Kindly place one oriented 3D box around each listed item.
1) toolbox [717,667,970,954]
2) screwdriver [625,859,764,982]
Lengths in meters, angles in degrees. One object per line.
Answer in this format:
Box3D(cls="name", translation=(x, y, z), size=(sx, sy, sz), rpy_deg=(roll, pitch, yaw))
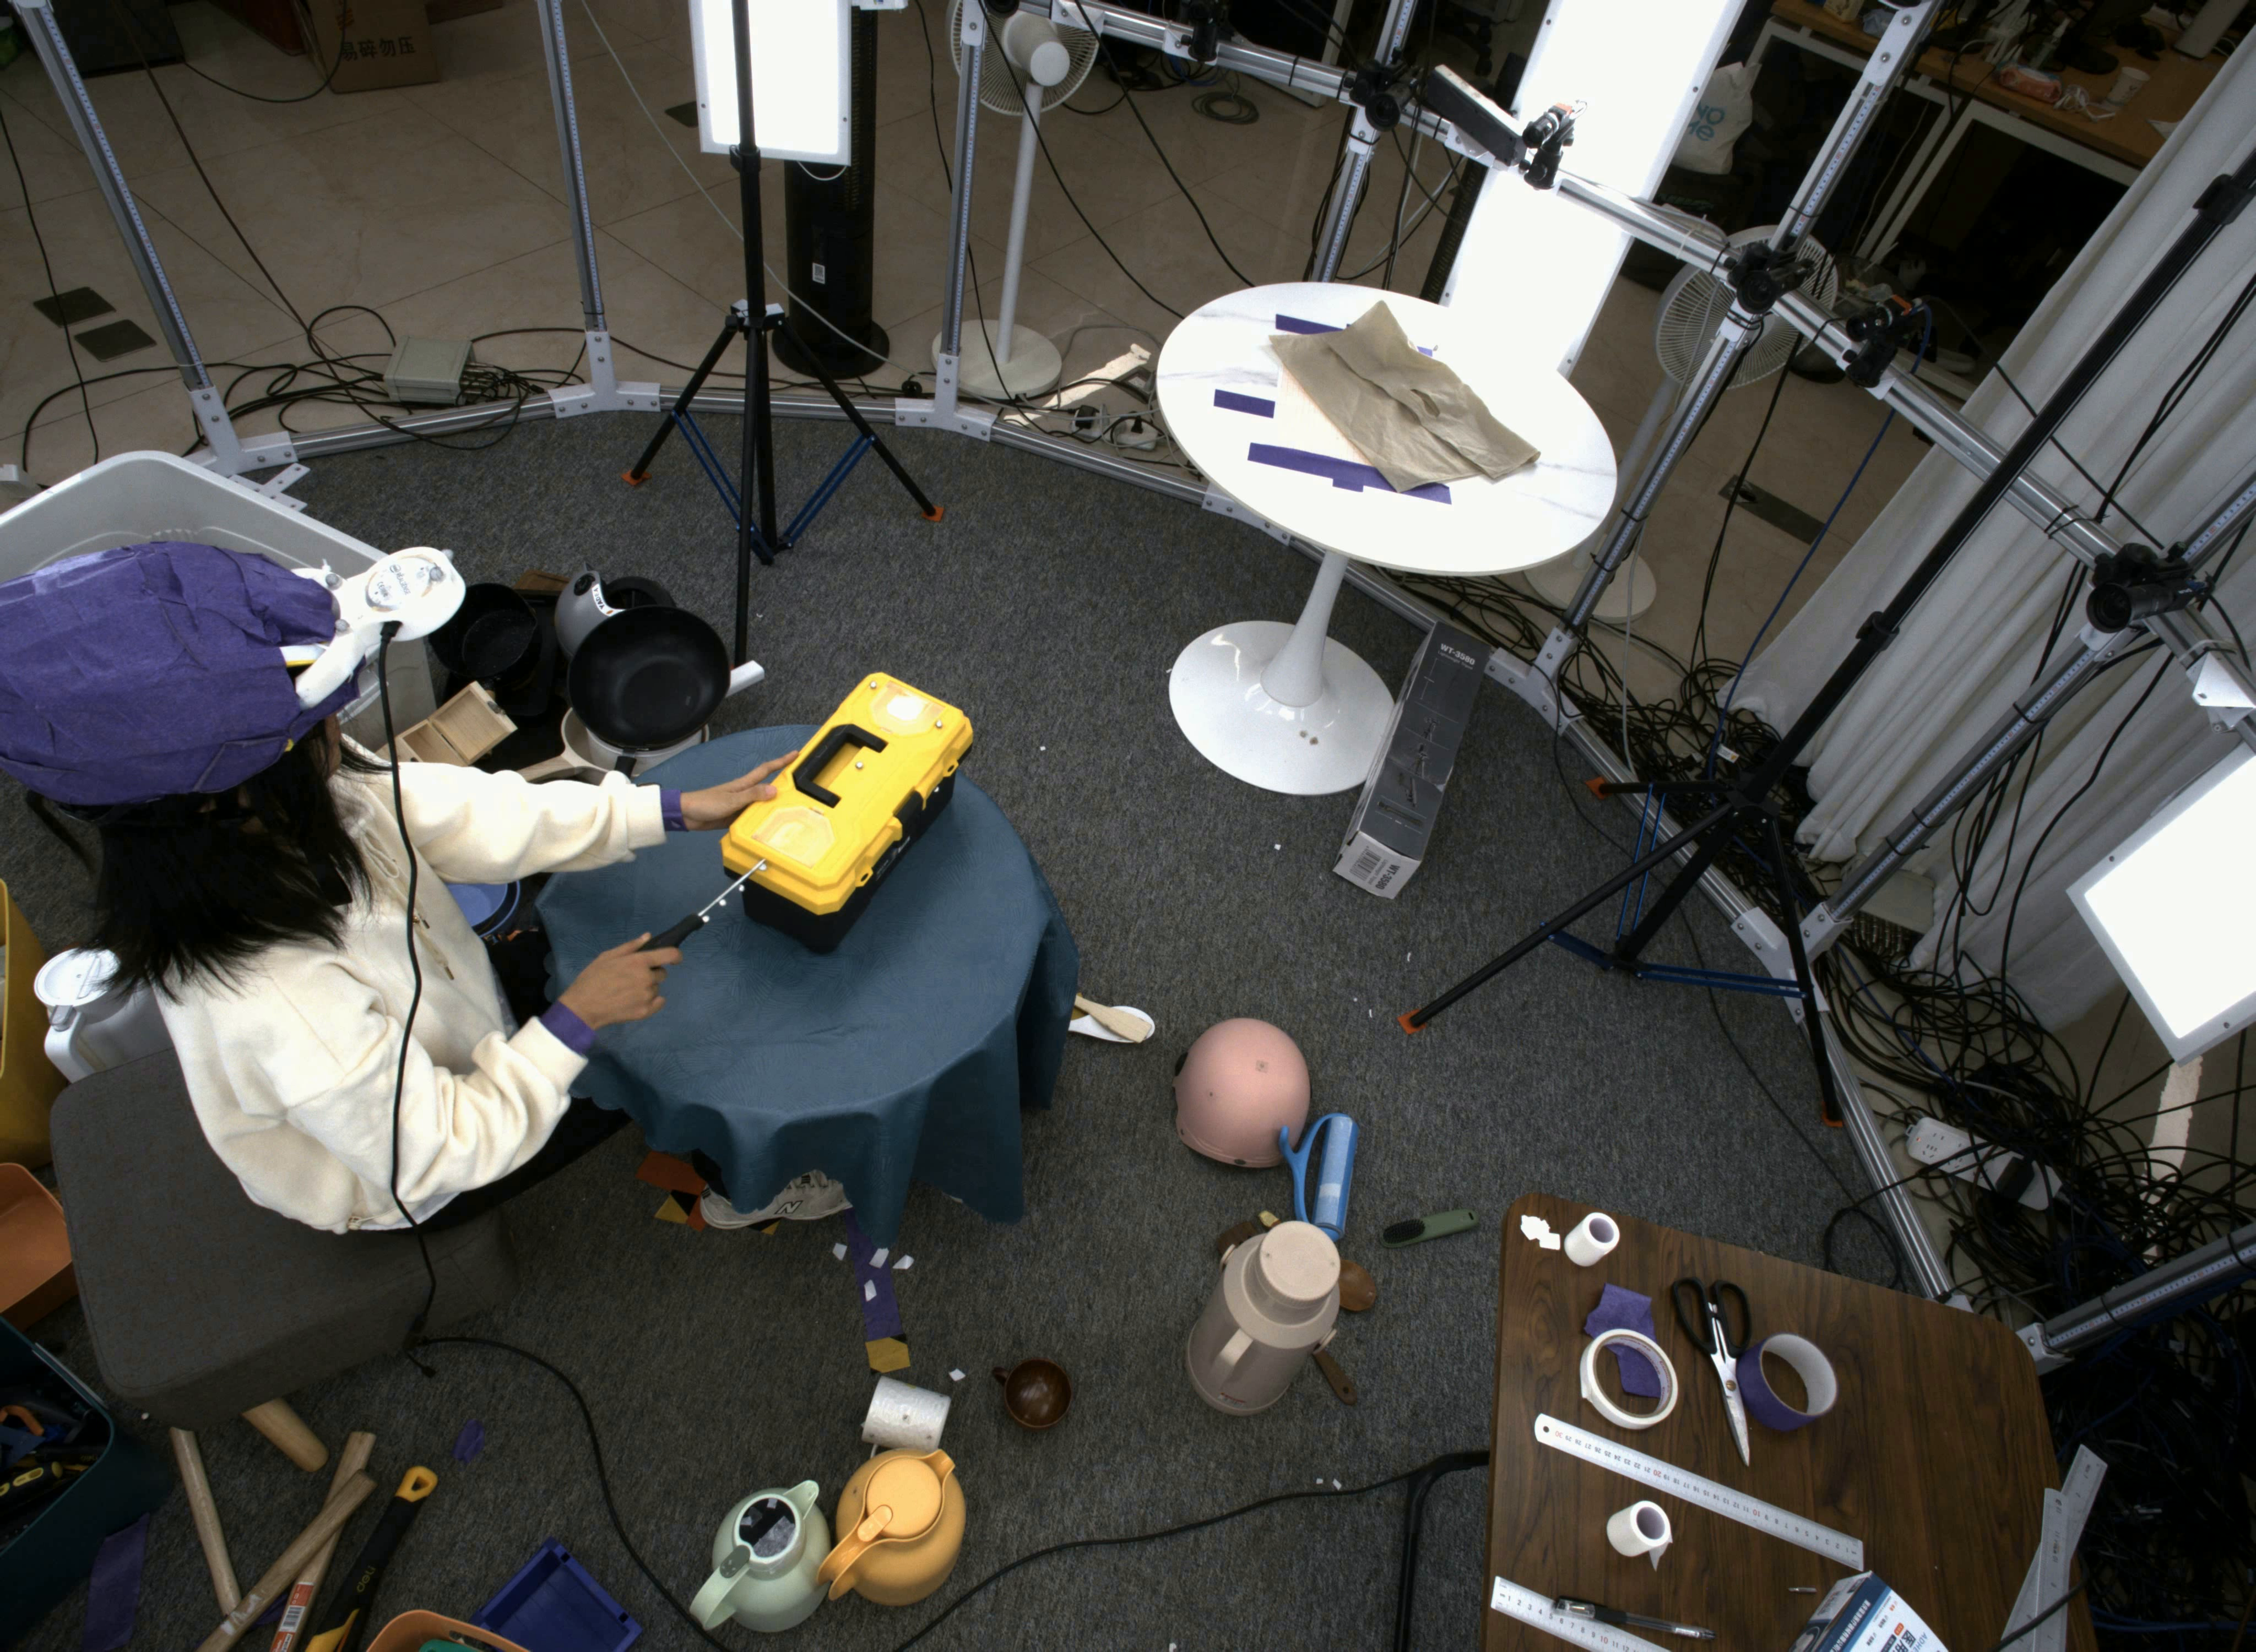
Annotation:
Box3D(cls="toolbox", translation=(-0.351, -0.021, 1.642), size=(0.178, 0.176, 0.349), rpy_deg=(26, 52, 8))
Box3D(cls="screwdriver", translation=(-0.482, 0.100, 1.441), size=(0.031, 0.032, 0.198), rpy_deg=(36, 59, 15))
